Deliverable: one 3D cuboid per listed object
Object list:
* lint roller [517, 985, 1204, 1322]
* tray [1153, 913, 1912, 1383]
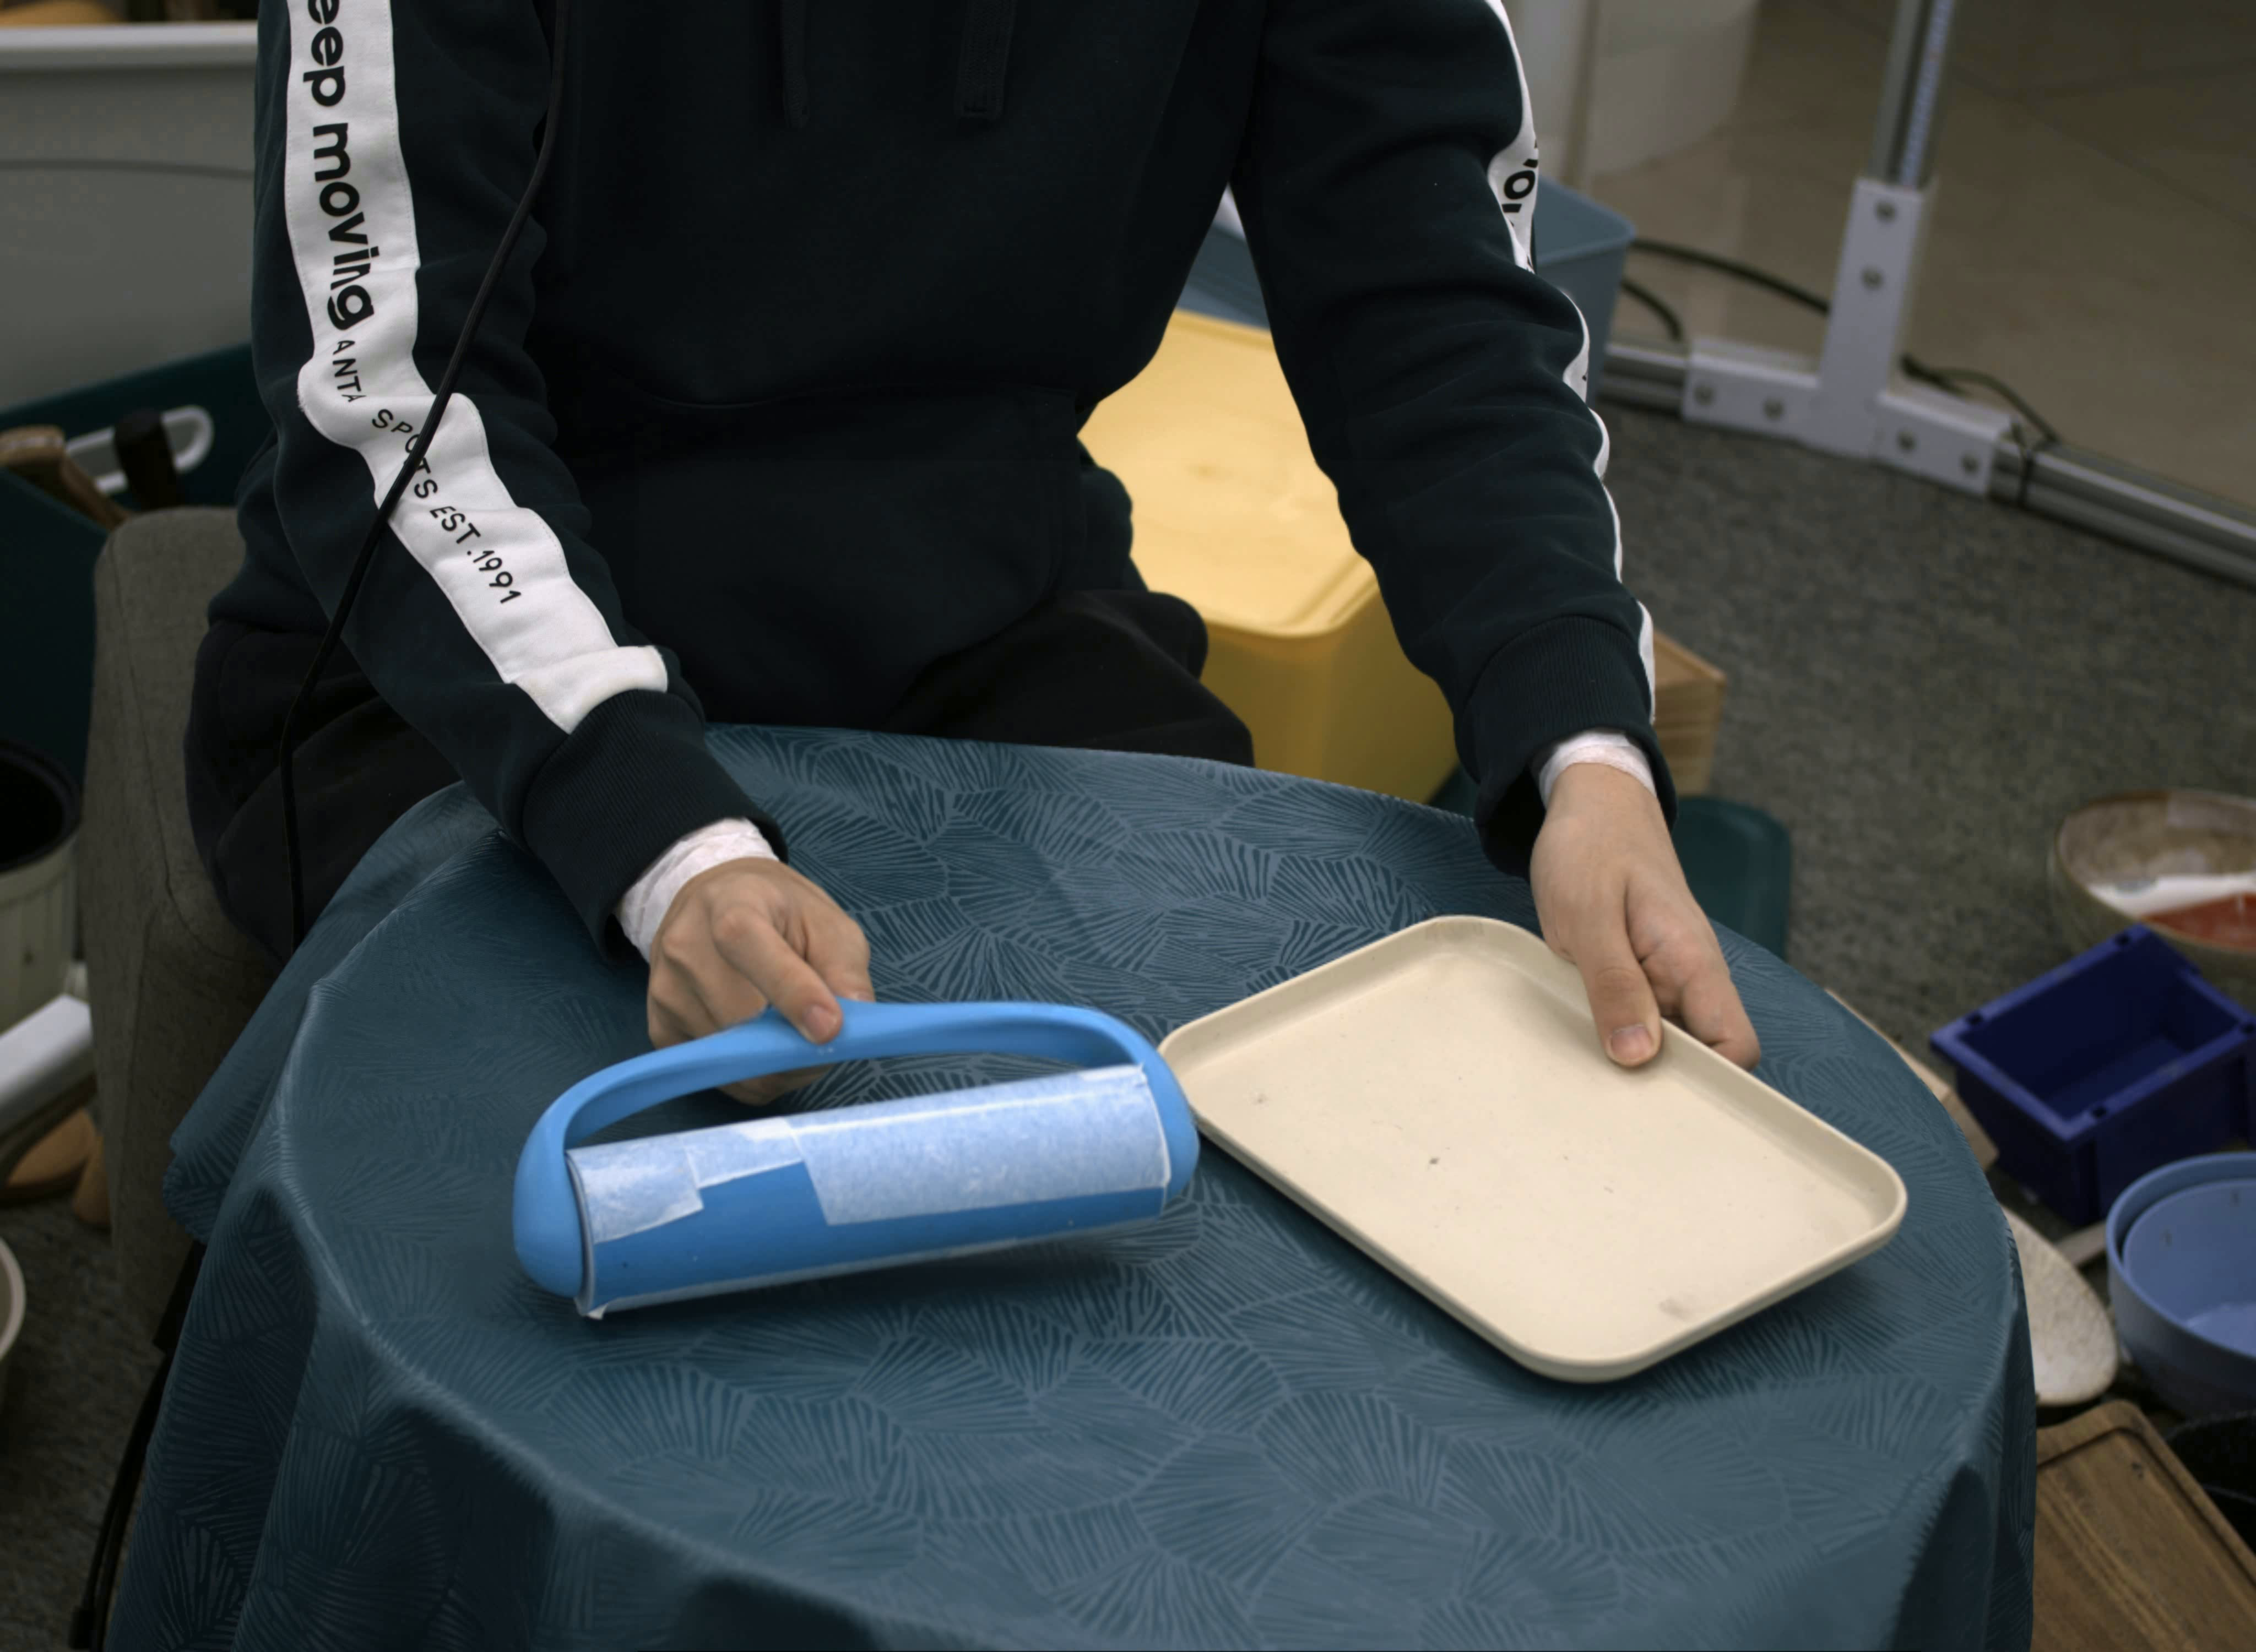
[{"bbox_3d":[-0.106,0.088,1.762,0.228,0.067,0.182,-11,31,-18],"label":"lint roller"},{"bbox_3d":[0.136,0.108,1.820,0.170,0.017,0.242,-23,38,-32],"label":"tray"}]
